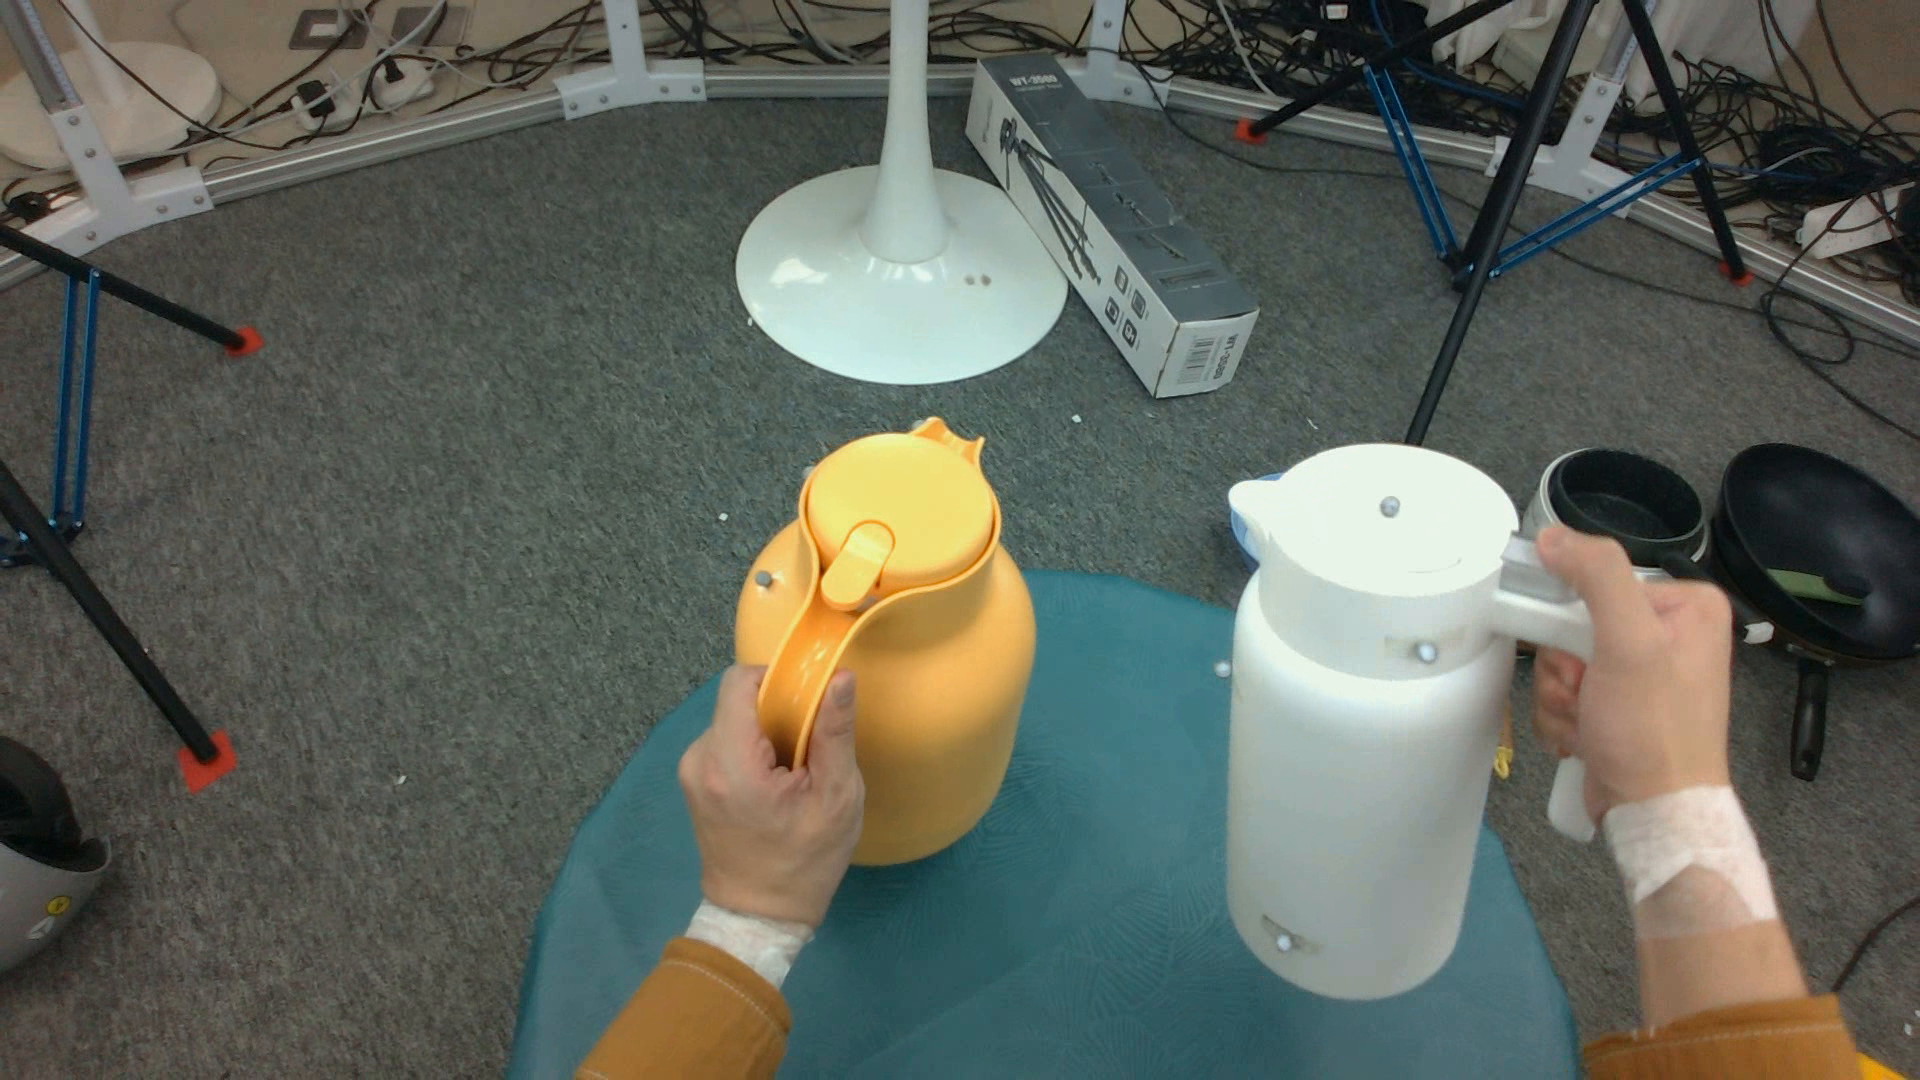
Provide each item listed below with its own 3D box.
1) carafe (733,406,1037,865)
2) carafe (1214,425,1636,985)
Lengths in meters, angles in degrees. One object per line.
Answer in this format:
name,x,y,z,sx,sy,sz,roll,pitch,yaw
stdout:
carafe,-0.051,0.065,0.730,0.163,0.259,0.203,25,50,14
carafe,0.200,0.086,0.632,0.172,0.267,0.124,13,41,25
